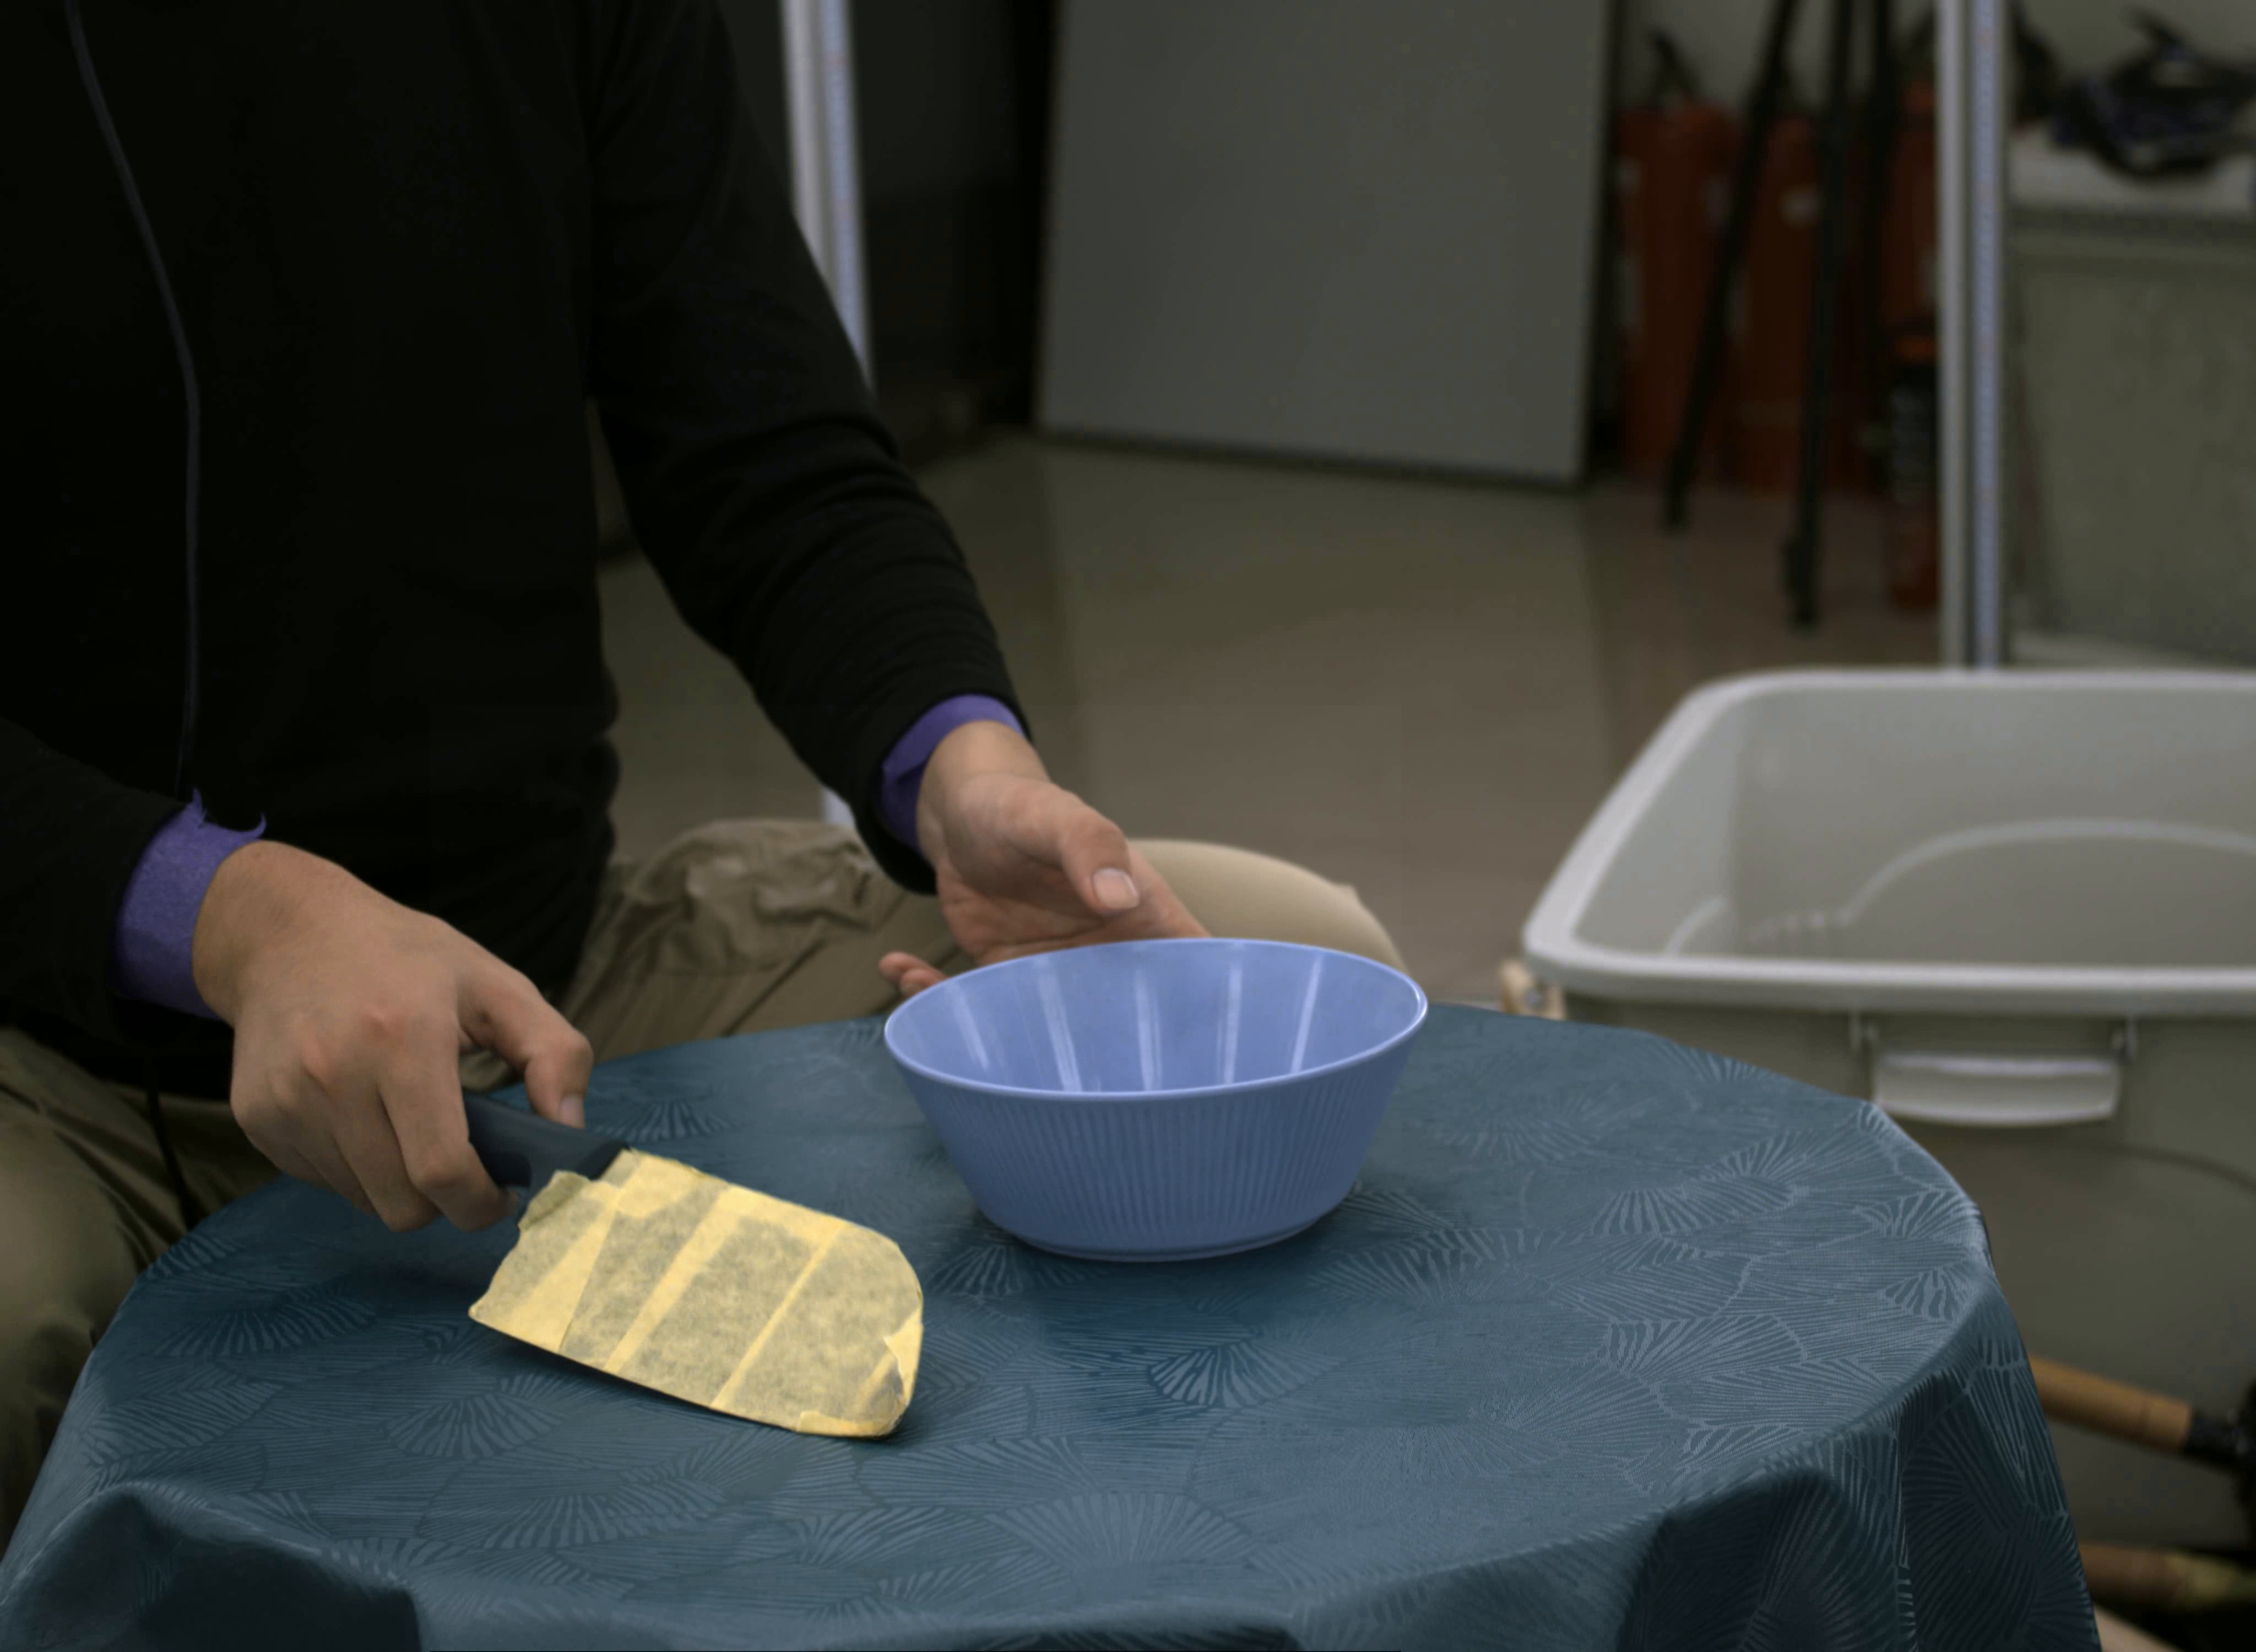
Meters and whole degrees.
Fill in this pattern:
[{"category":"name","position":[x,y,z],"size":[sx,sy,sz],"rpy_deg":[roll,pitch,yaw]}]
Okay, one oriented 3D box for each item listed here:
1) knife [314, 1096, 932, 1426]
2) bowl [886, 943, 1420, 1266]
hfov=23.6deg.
[{"category":"knife","position":[-0.163,0.132,1.663],"size":[0.292,0.027,0.080],"rpy_deg":[16,56,43]},{"category":"bowl","position":[0.010,0.092,1.744],"size":[0.174,0.071,0.176],"rpy_deg":[-5,14,0]}]
